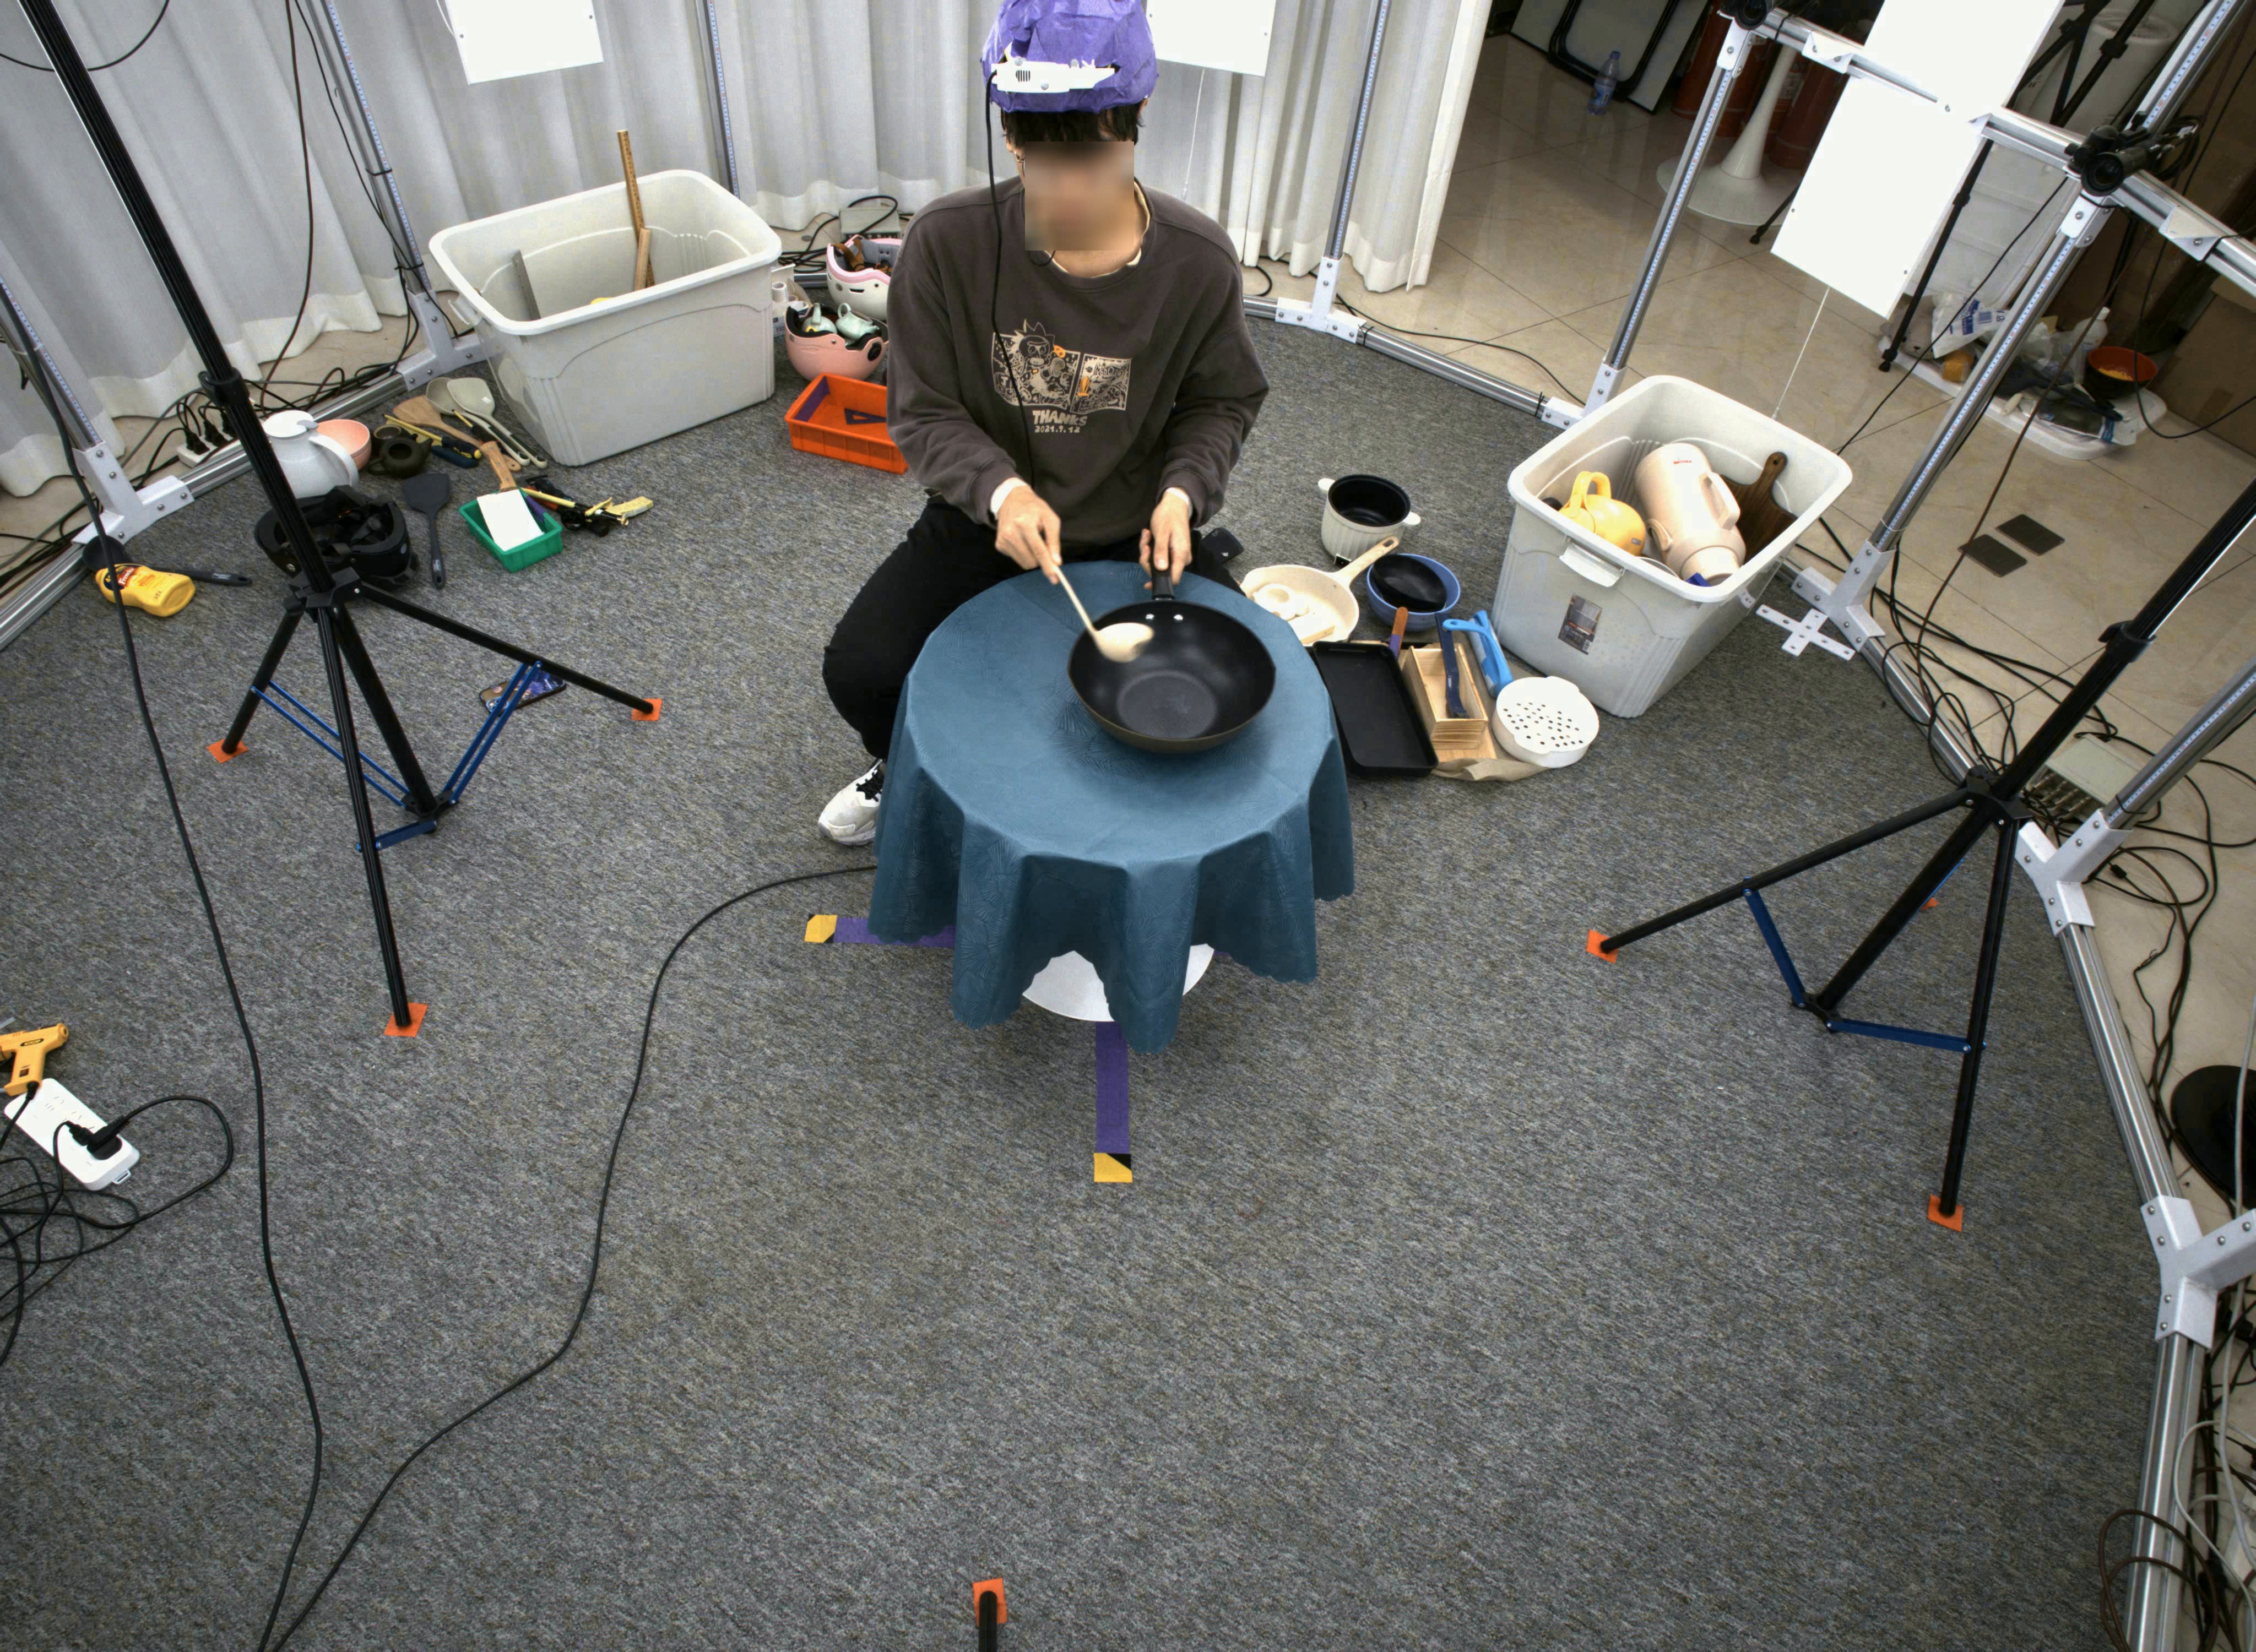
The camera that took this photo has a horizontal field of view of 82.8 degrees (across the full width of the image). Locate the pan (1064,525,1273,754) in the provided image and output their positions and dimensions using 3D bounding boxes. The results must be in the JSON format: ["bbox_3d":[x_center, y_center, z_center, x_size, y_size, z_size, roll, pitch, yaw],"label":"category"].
[{"bbox_3d":[0.050,-0.263,1.844,0.288,0.085,0.475,0,48,-4],"label":"pan"}]

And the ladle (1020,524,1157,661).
[{"bbox_3d":[-0.052,-0.334,1.747,0.073,0.071,0.258,-34,73,3],"label":"ladle"}]
